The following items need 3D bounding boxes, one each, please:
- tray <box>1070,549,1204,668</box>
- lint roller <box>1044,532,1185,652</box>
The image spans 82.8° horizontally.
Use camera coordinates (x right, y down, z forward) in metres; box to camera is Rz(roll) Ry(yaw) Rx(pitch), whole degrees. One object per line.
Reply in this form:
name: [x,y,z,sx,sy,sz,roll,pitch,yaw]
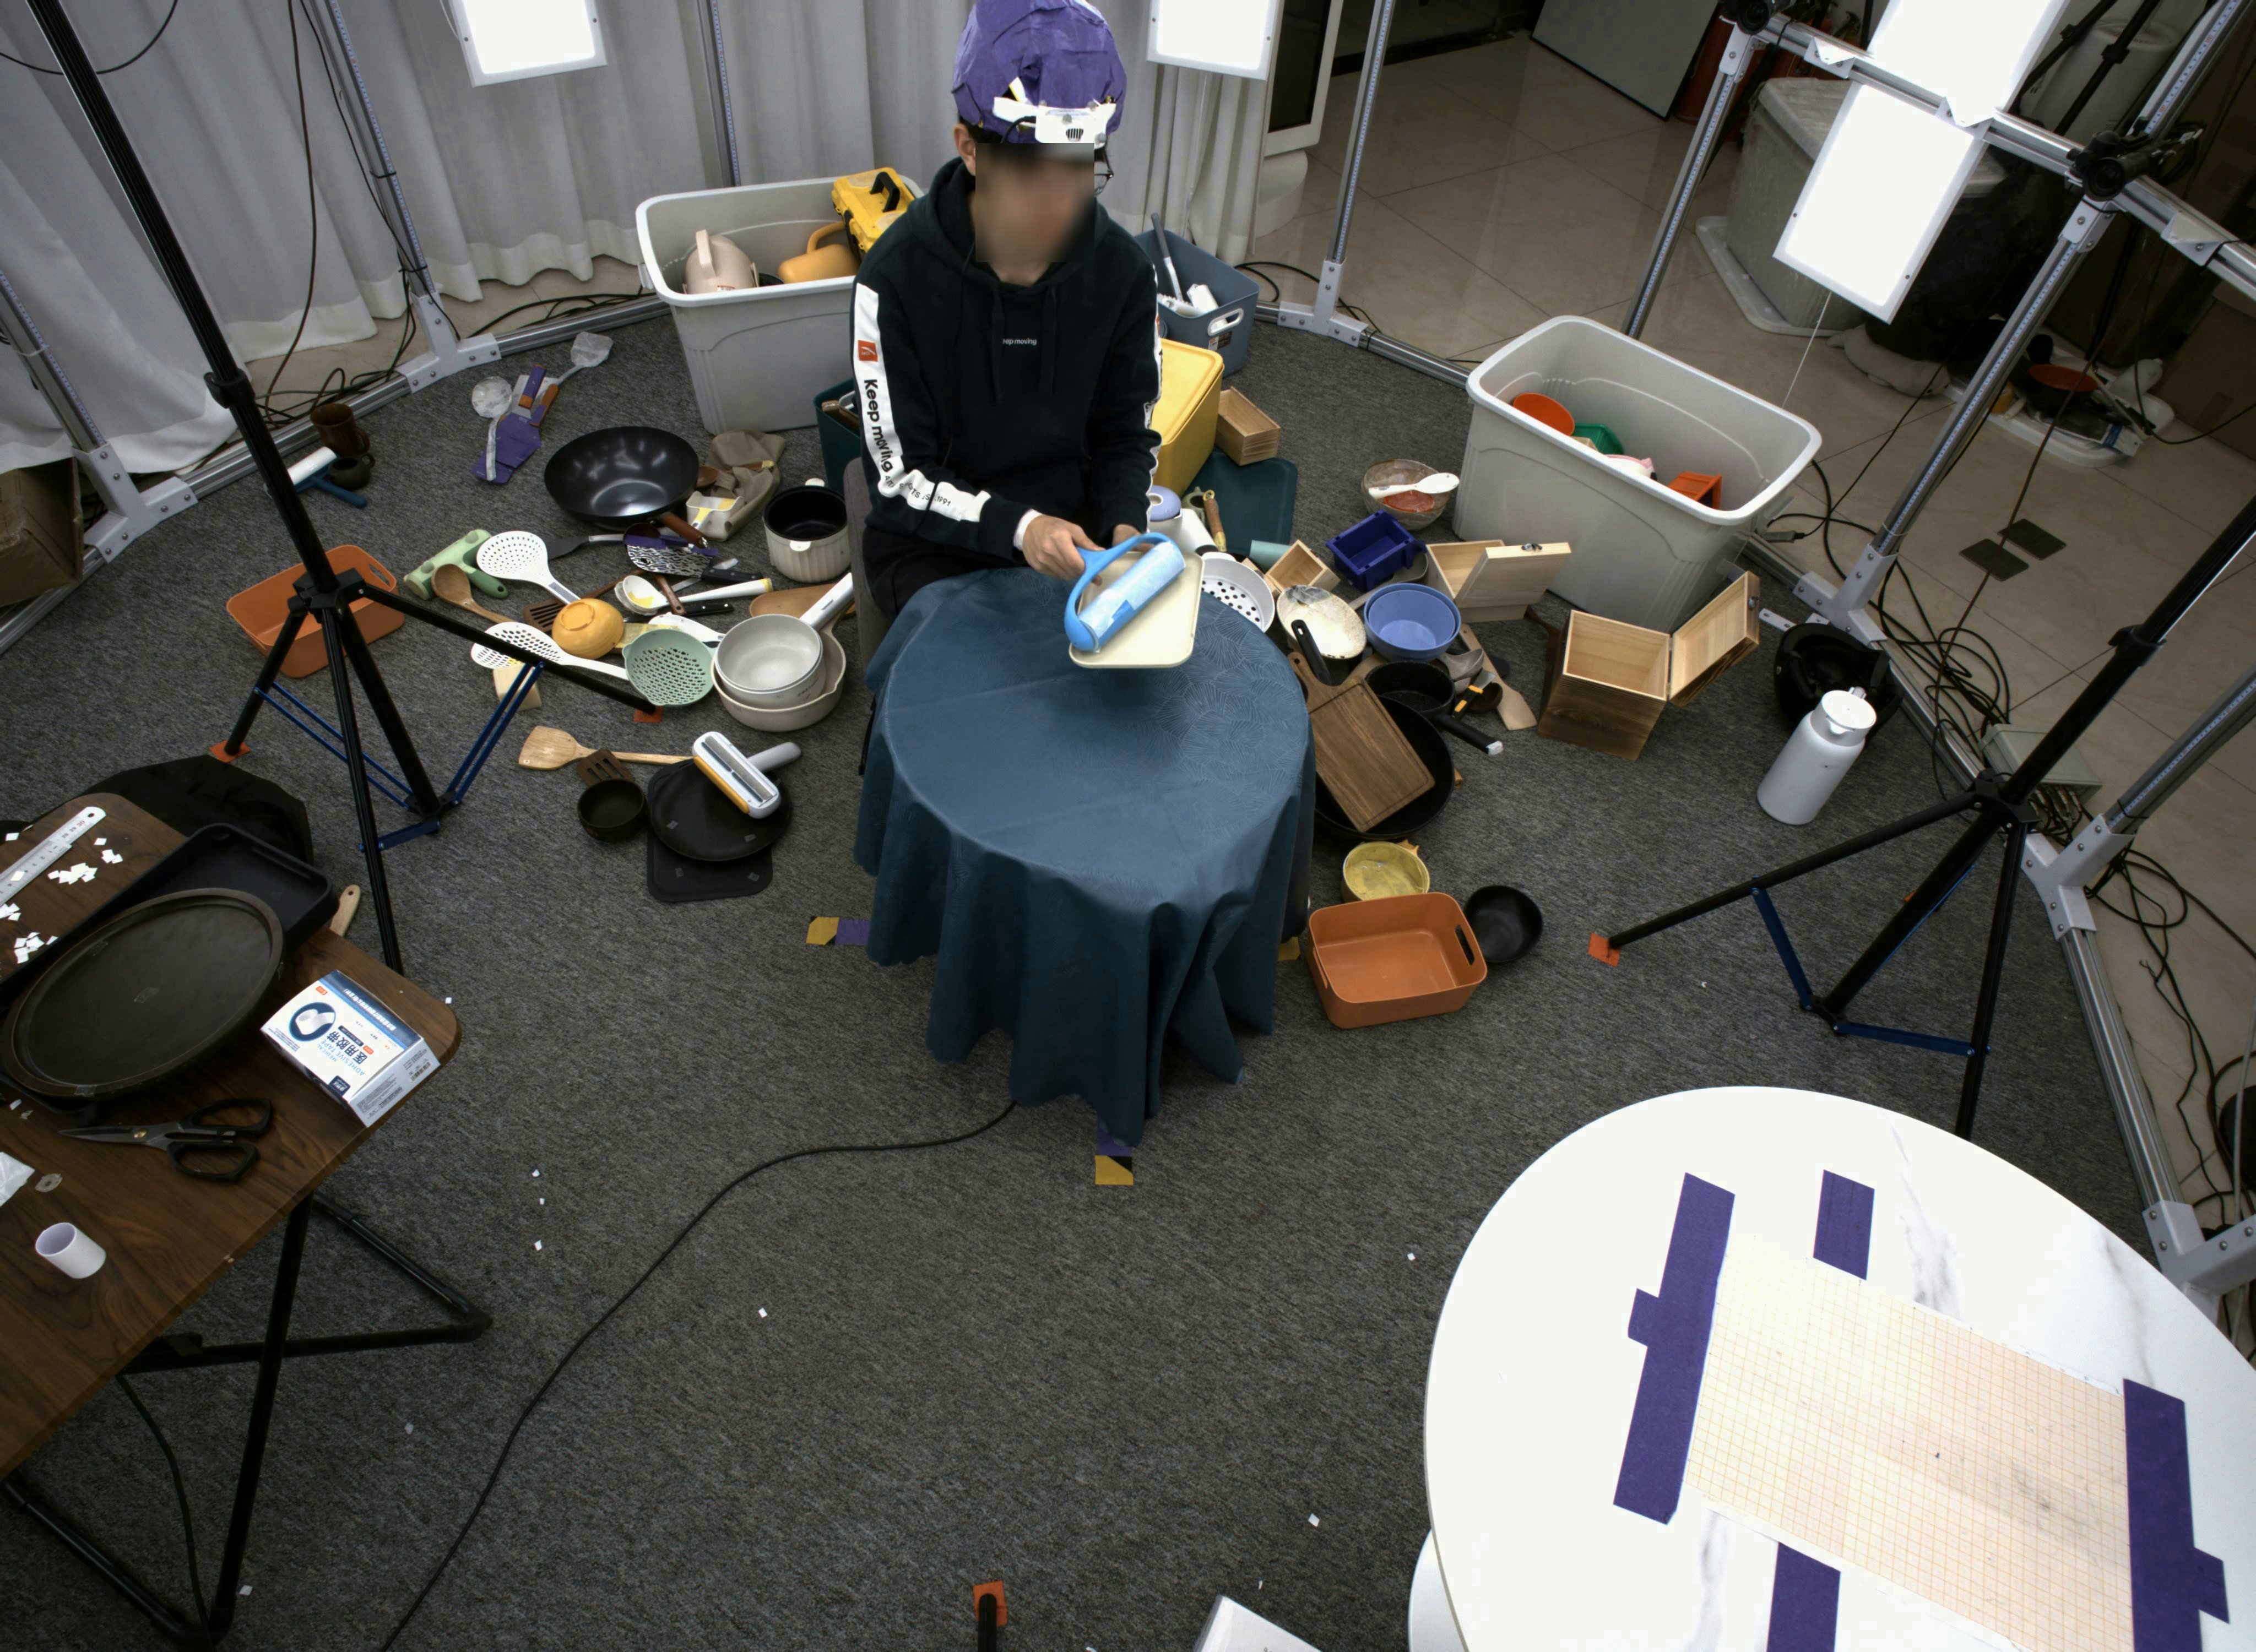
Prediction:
tray: [0.016,-0.305,1.800,0.171,0.017,0.245,0,49,12]
lint roller: [-0.046,-0.352,1.807,0.182,0.066,0.232,32,61,17]
